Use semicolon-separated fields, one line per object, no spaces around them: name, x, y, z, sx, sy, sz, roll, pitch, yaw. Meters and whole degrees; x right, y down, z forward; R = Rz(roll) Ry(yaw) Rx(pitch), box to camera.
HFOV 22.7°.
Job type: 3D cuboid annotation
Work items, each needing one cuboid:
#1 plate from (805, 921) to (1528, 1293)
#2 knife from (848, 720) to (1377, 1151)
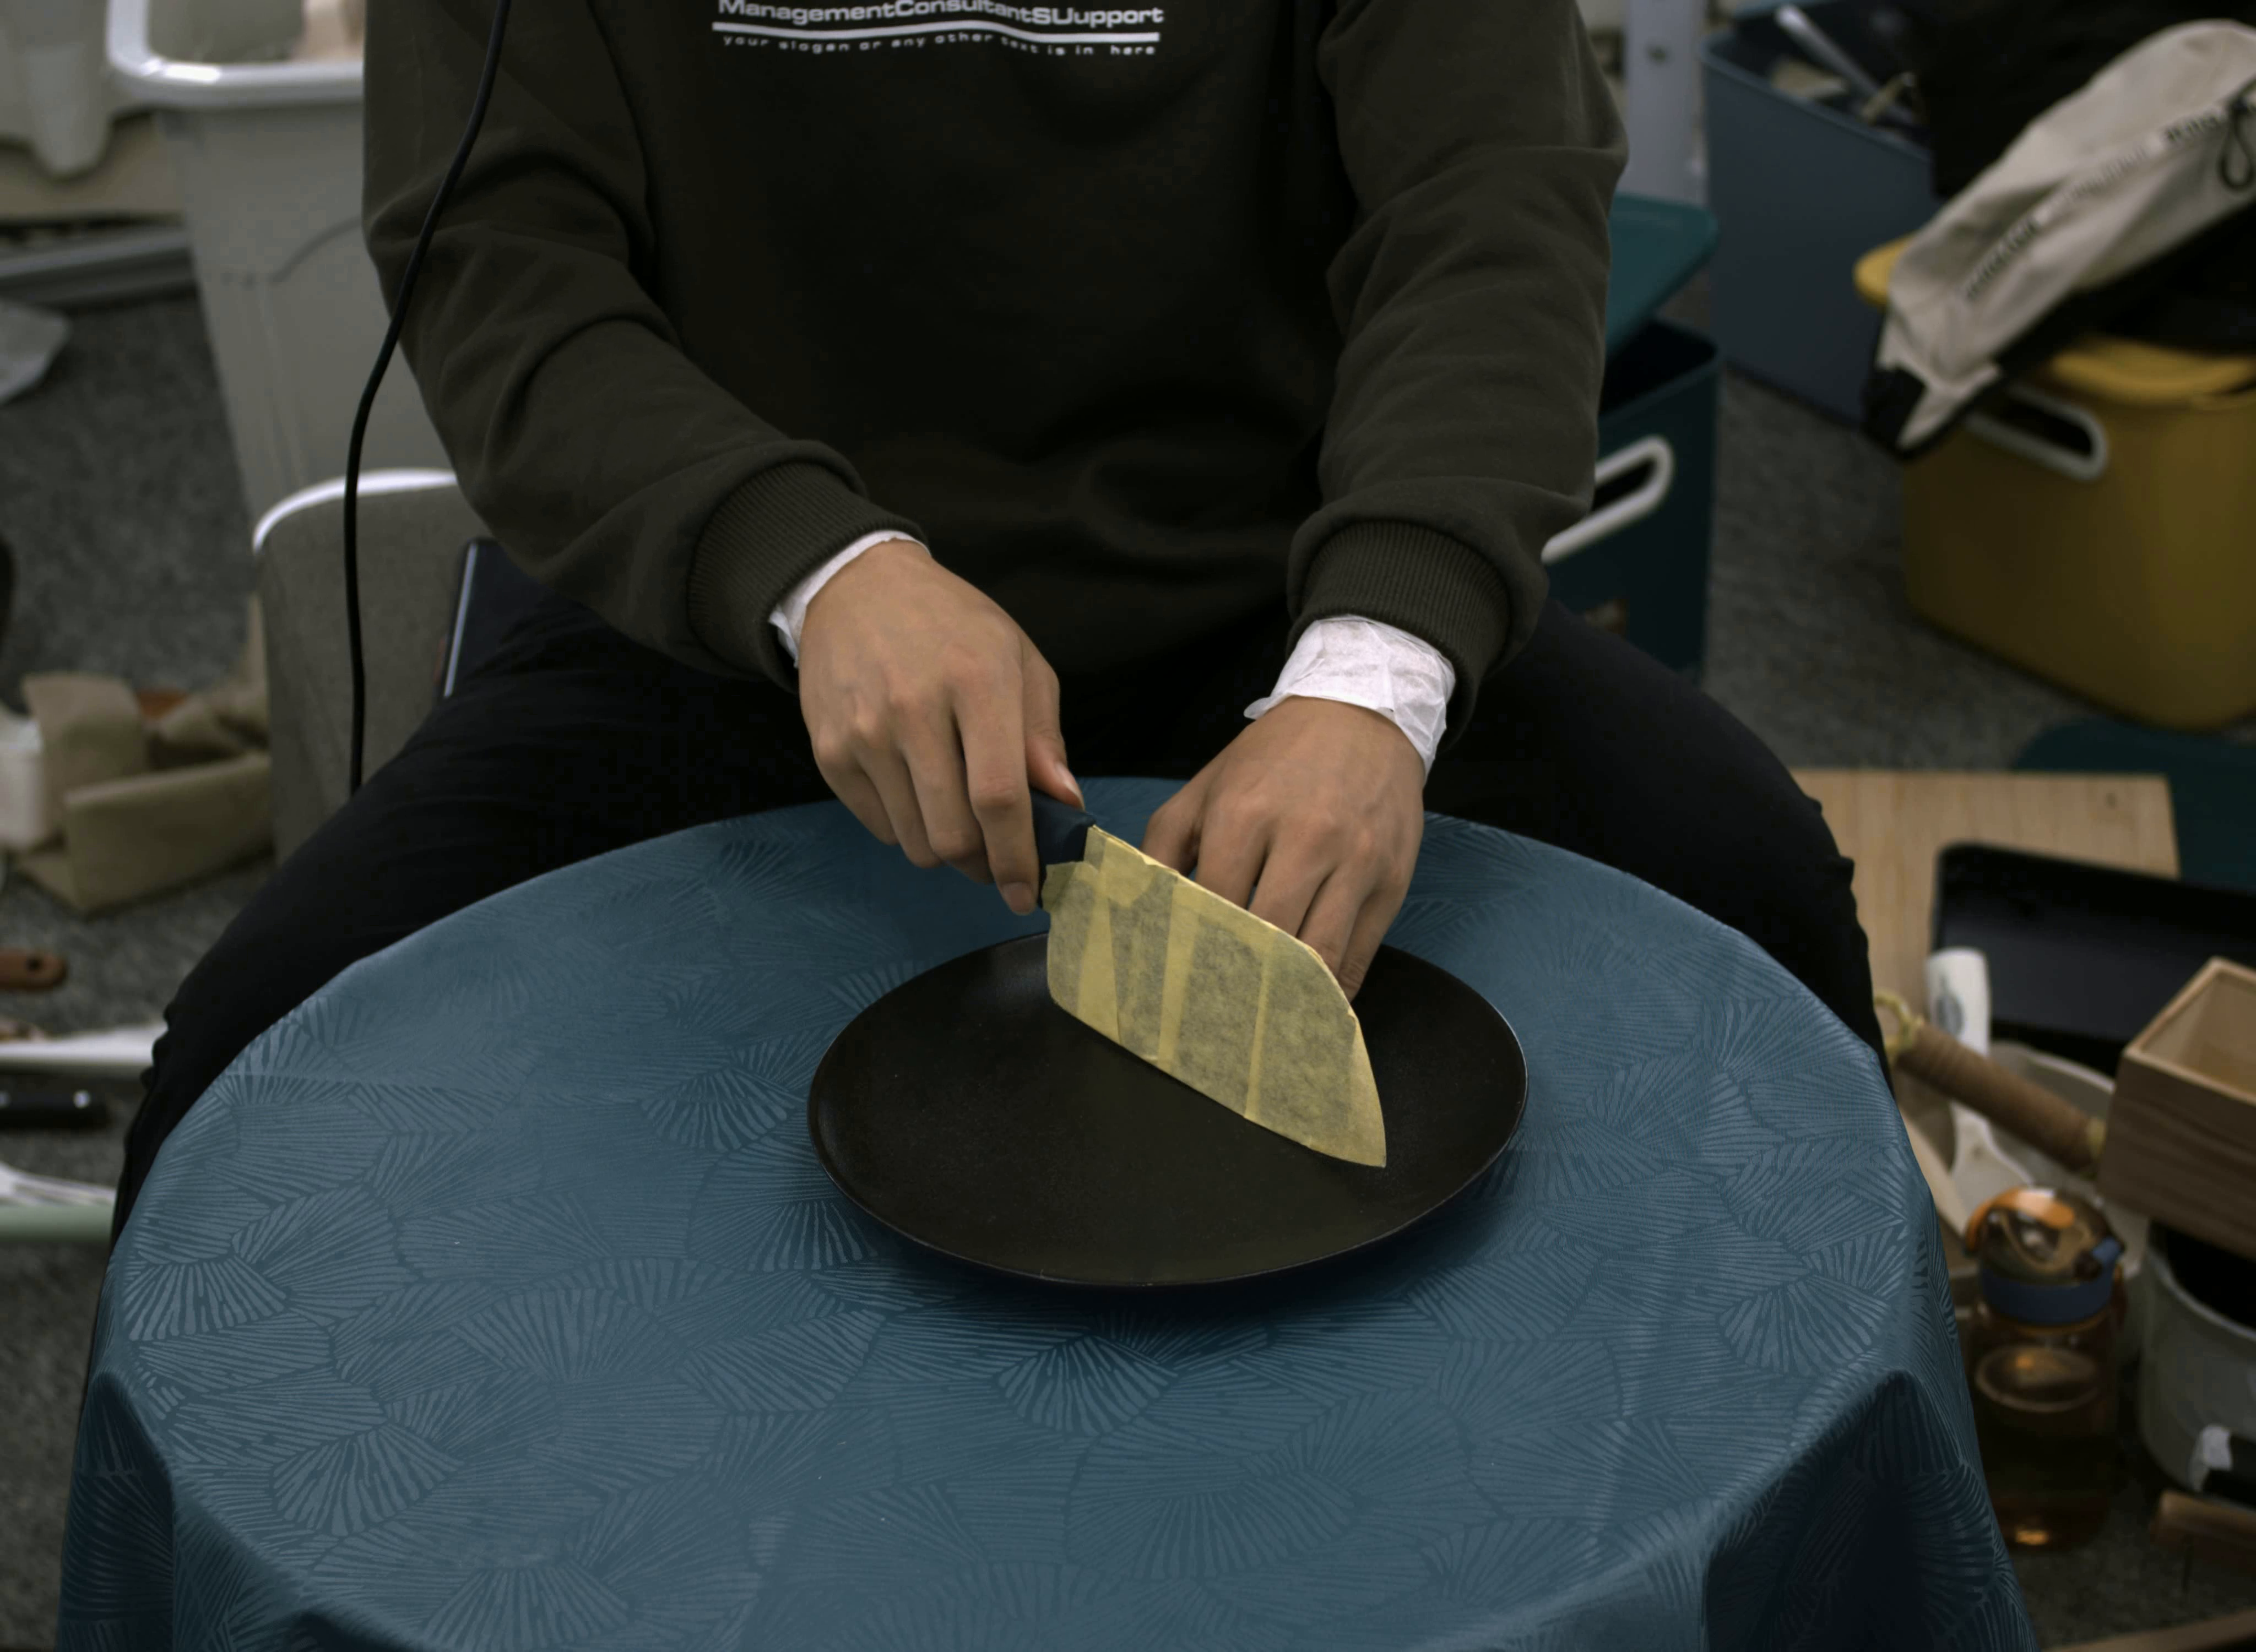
plate;0.013;0.097;1.883;0.243;0.023;0.248;-2;27;1
knife;-0.008;0.035;1.926;0.027;0.080;0.290;-8;29;-39
